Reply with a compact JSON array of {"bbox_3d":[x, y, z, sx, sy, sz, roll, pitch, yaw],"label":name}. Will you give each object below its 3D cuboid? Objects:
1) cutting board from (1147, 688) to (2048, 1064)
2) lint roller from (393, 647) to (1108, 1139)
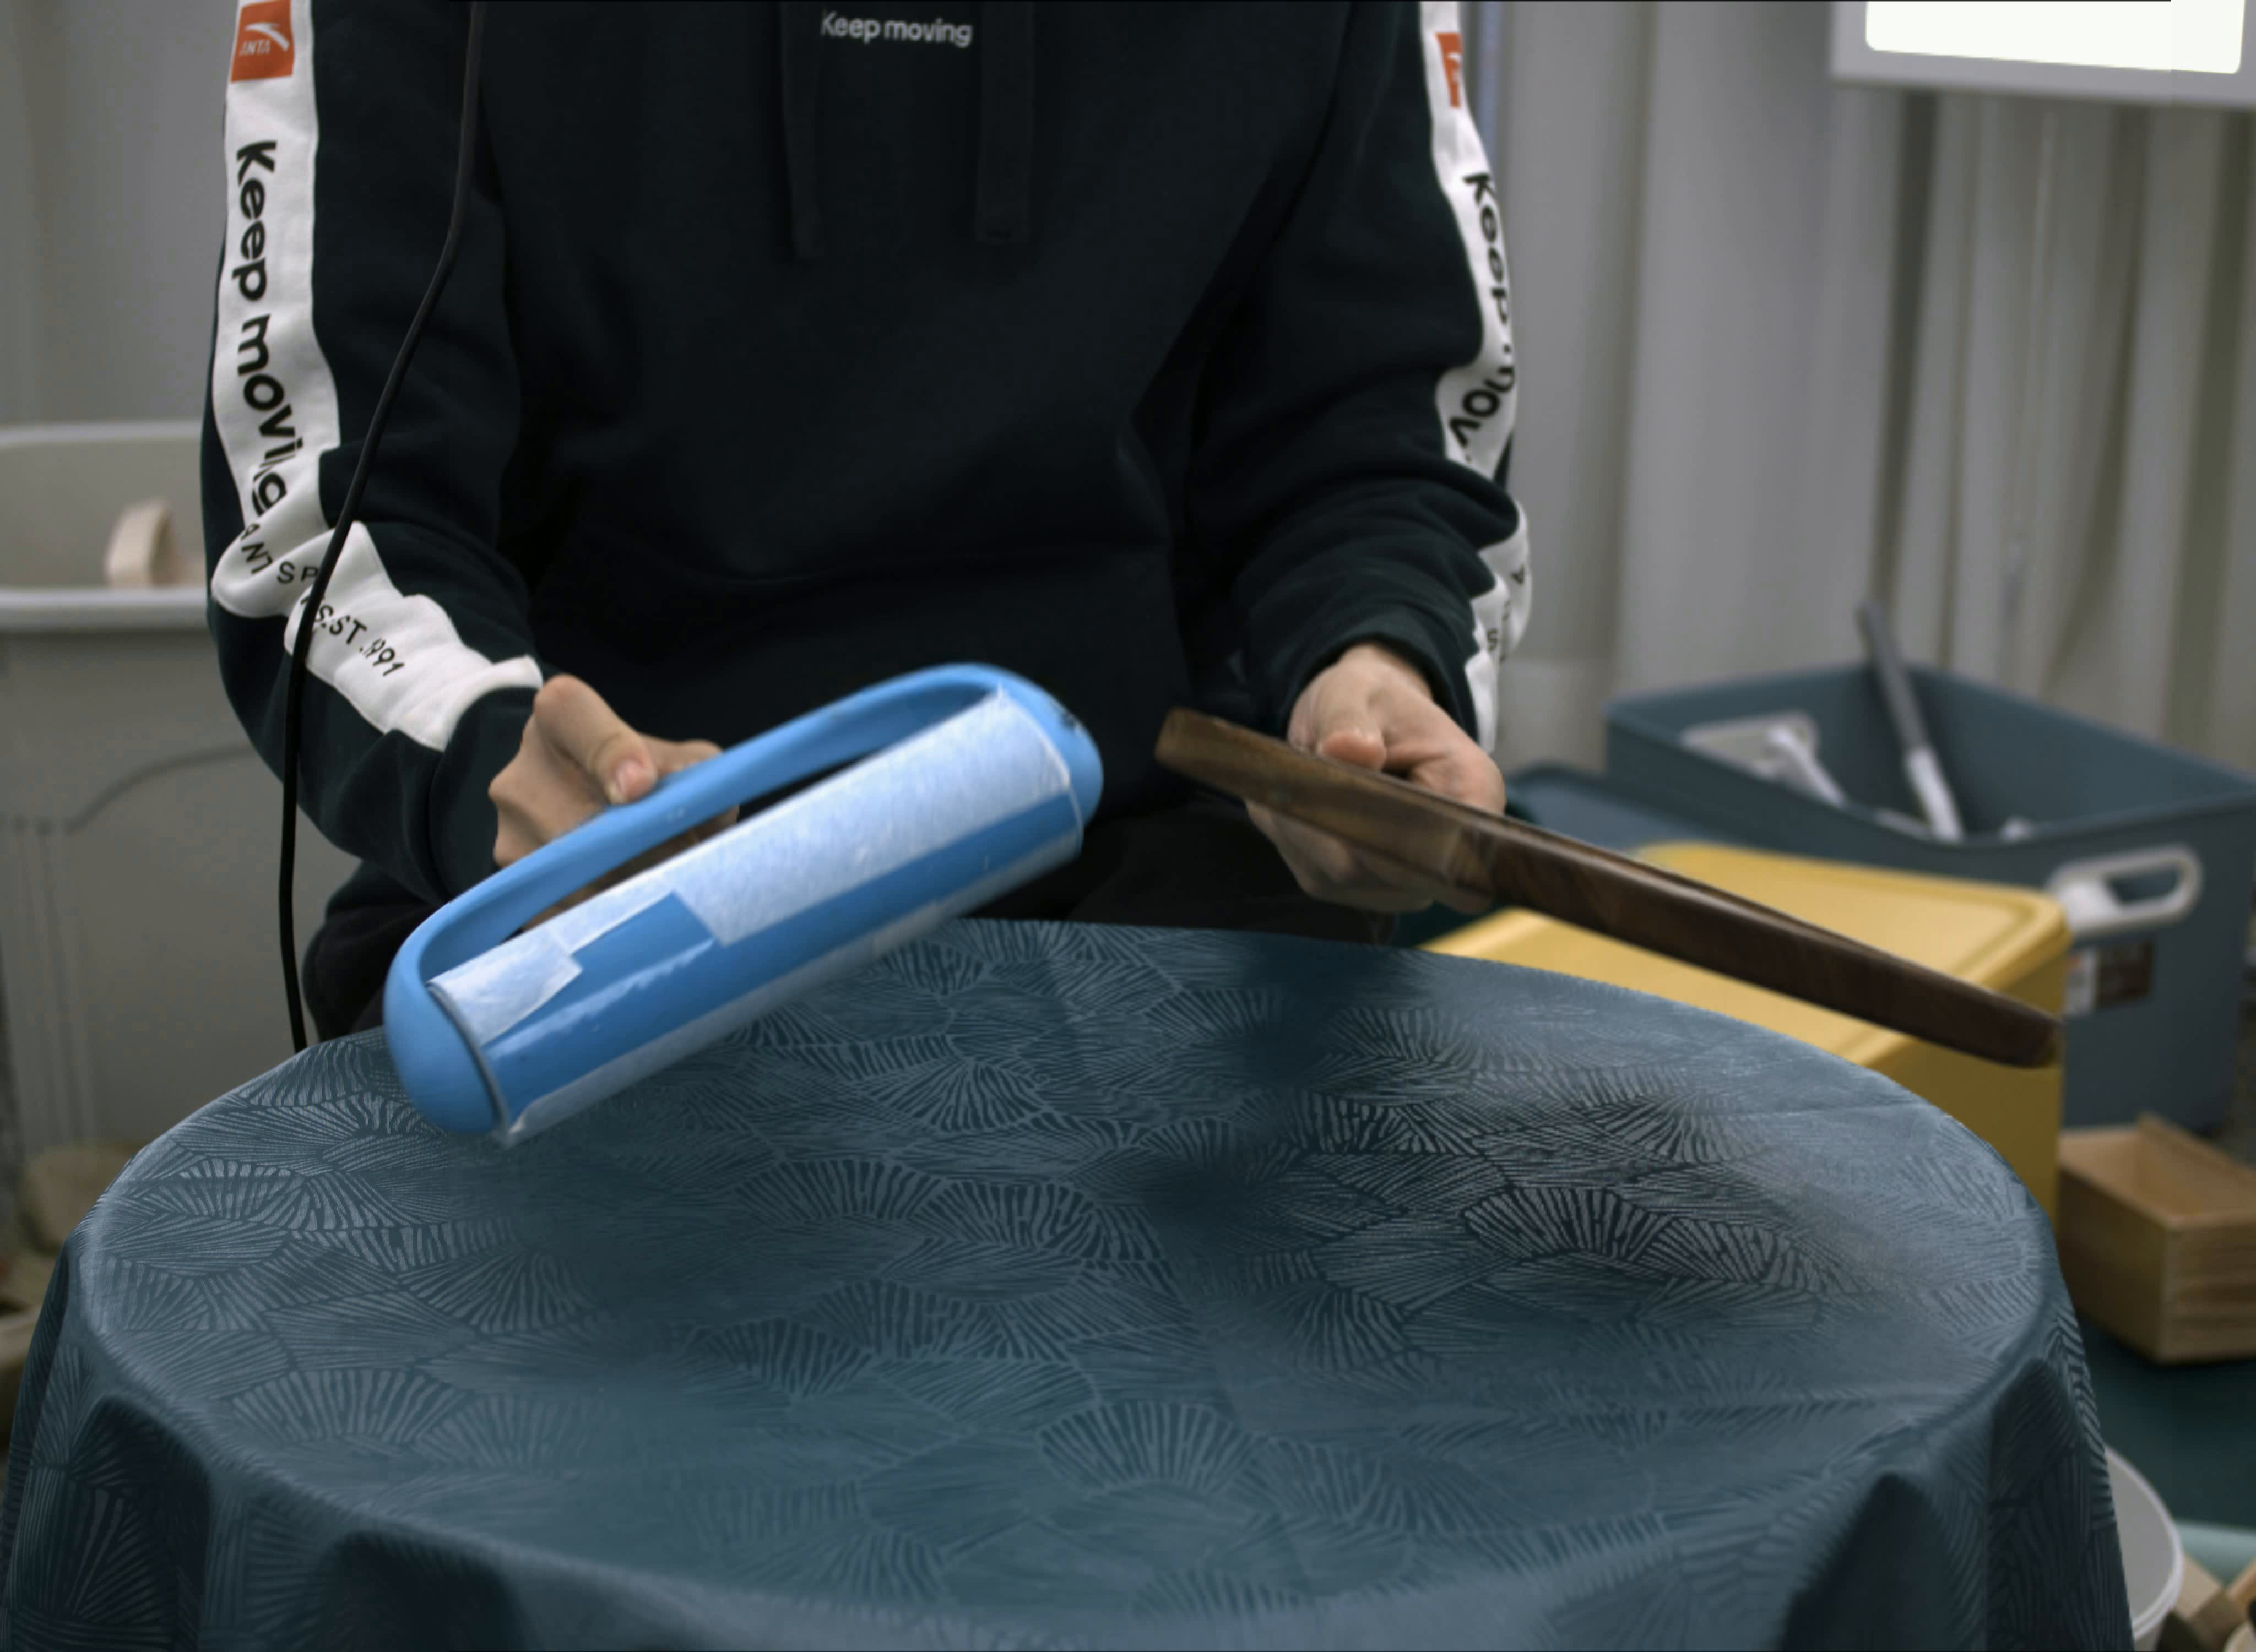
[{"bbox_3d":[0.118,0.005,1.625,0.202,0.023,0.349,19,1,-22],"label":"cutting board"},{"bbox_3d":[-0.131,0.014,1.574,0.229,0.068,0.178,-31,19,-20],"label":"lint roller"}]
